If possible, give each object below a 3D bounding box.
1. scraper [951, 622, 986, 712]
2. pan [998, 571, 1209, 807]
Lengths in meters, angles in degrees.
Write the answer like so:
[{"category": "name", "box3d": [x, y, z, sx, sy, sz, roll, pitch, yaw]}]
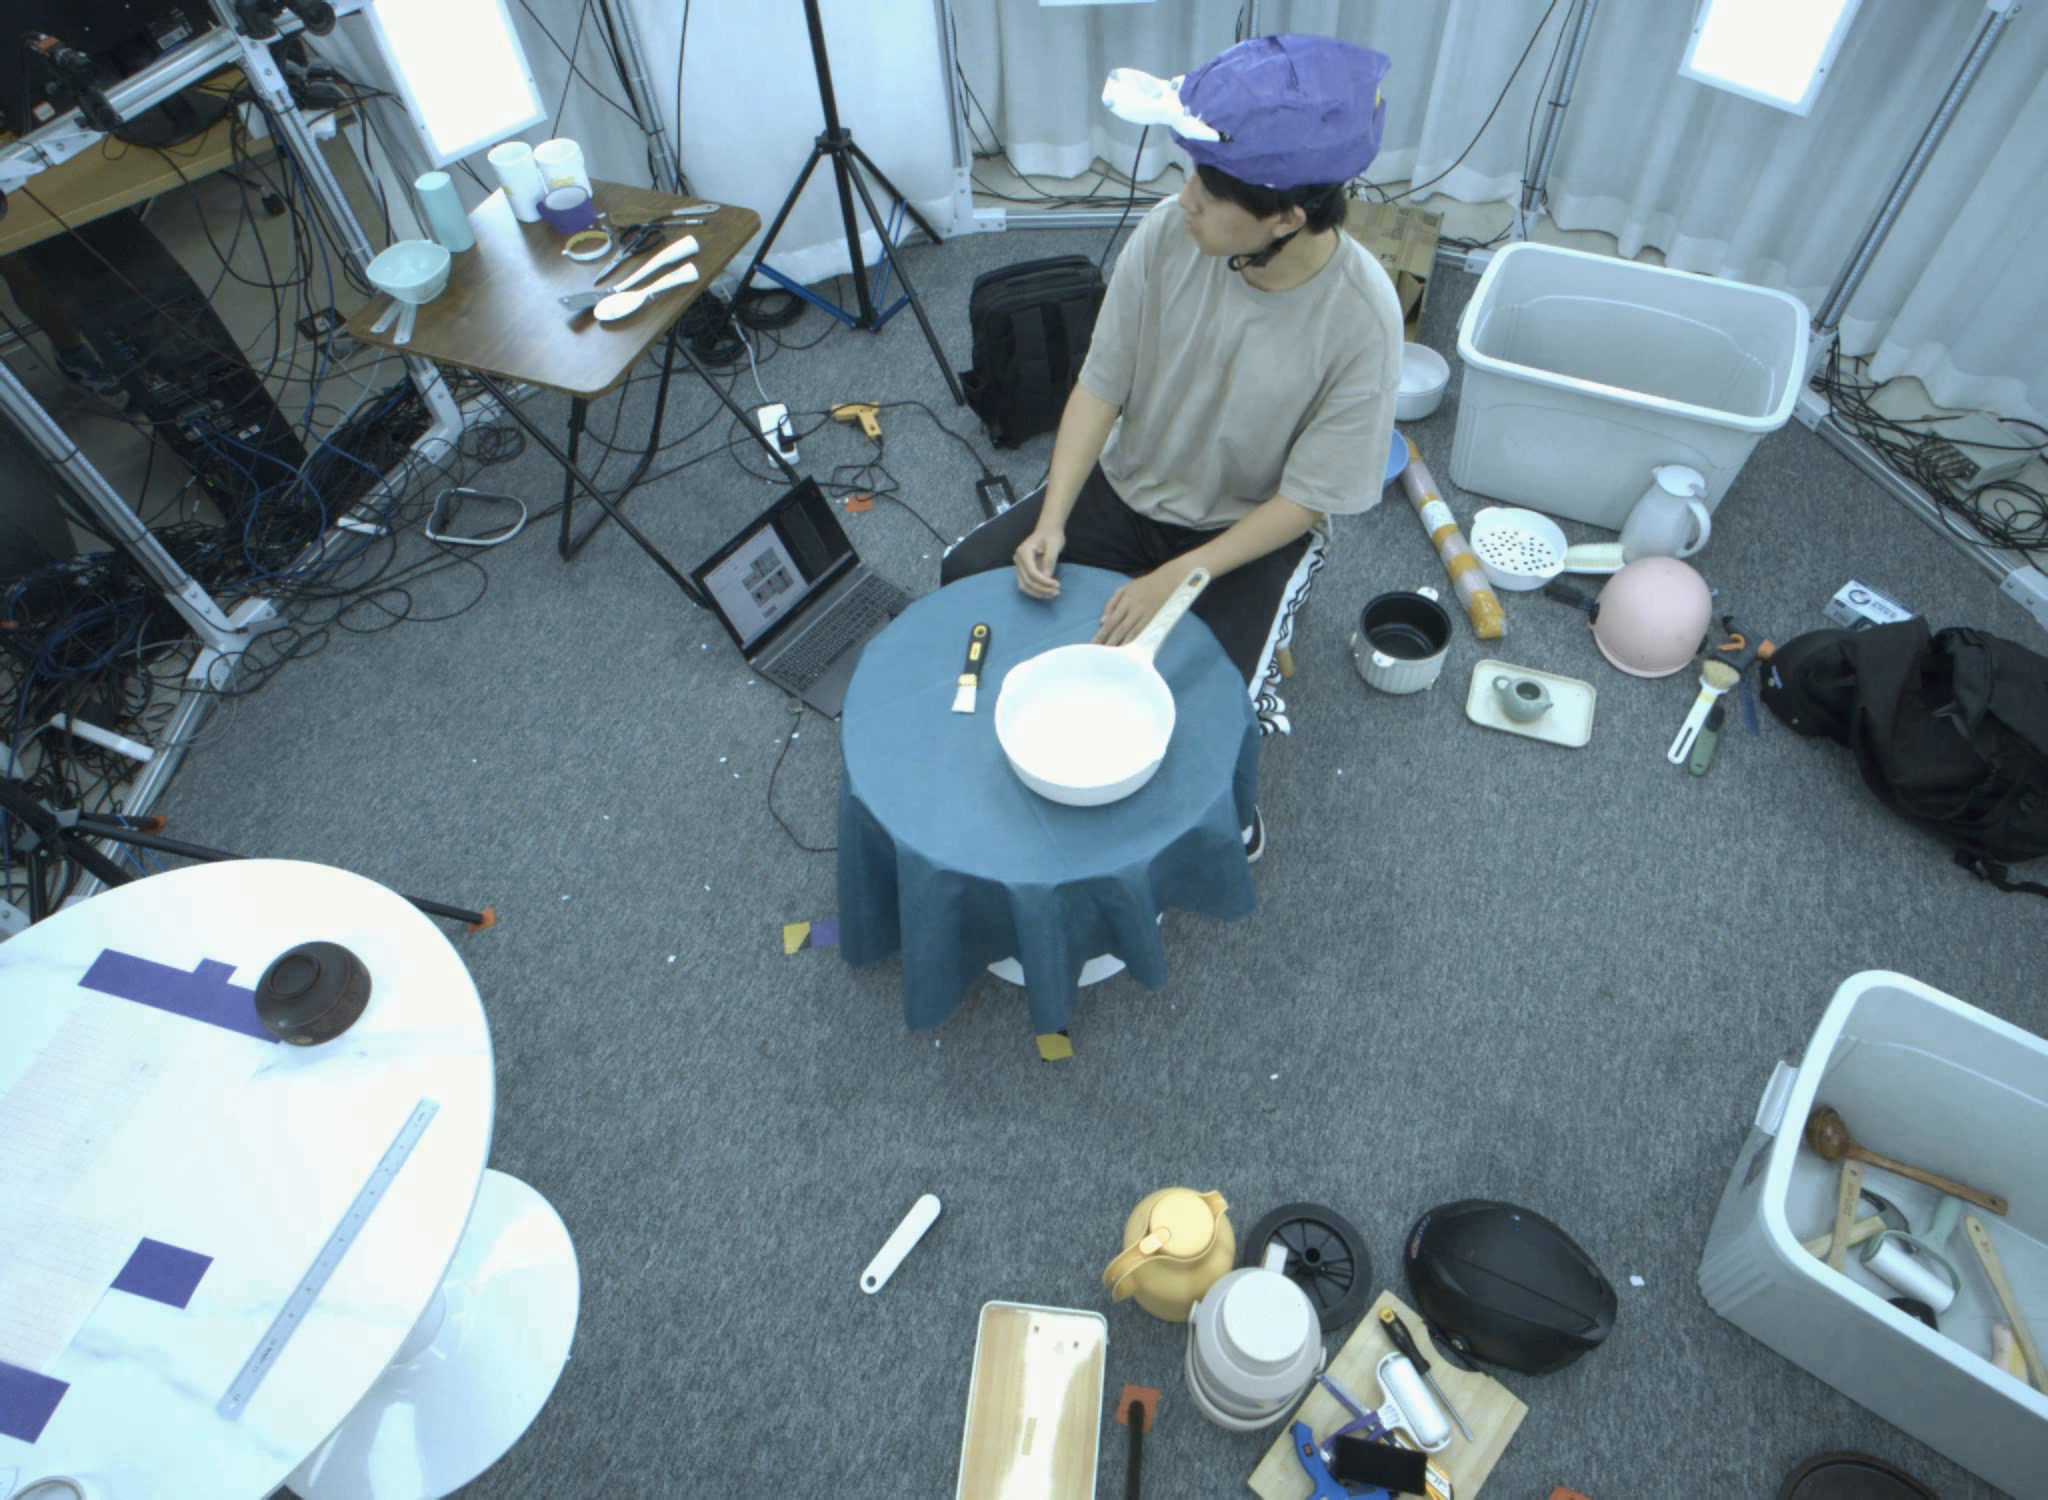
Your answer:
[{"category": "scraper", "box3d": [-0.082, -0.127, 1.869, 0.038, 0.015, 0.169, 1, 57, 9]}, {"category": "pan", "box3d": [0.146, -0.092, 1.787, 0.259, 0.103, 0.437, 29, 61, 24]}]
